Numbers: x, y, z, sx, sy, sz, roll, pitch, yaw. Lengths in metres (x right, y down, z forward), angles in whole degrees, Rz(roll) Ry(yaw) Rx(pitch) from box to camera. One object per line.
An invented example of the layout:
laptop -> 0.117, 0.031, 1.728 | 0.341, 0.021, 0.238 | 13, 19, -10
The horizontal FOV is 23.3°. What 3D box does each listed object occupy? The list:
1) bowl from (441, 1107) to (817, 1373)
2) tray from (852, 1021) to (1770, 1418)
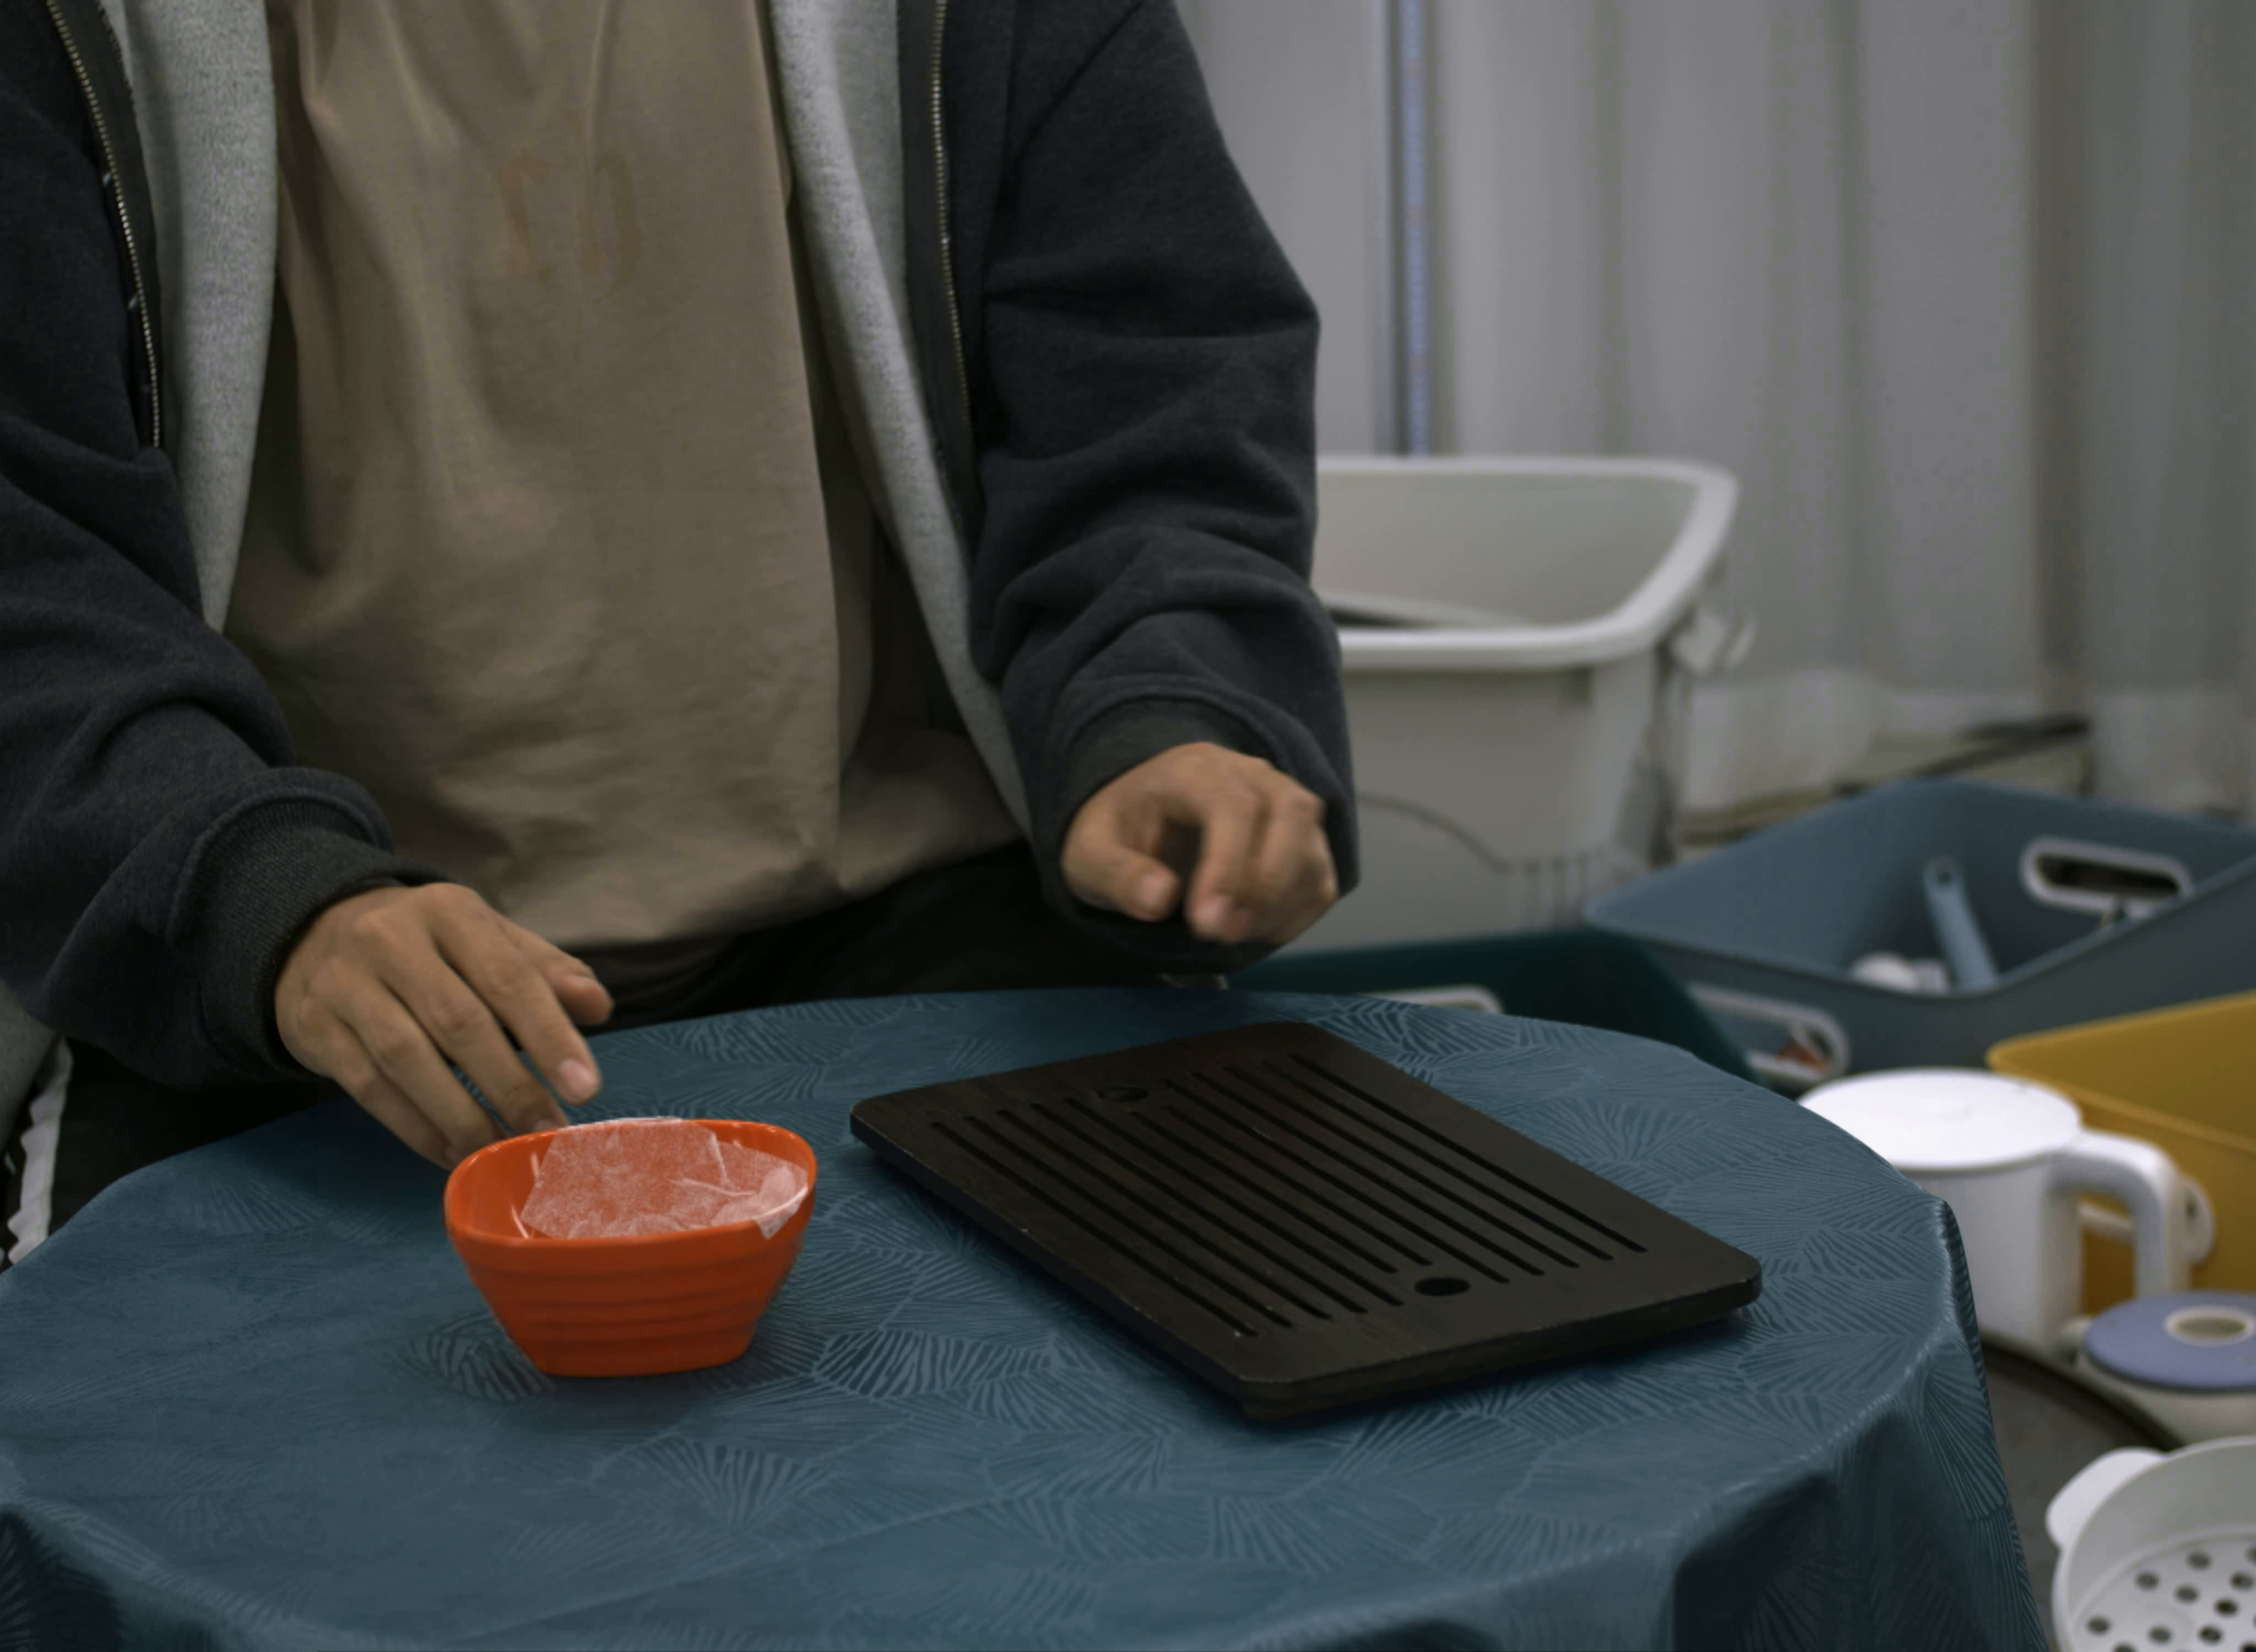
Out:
bowl -> -0.144, 0.124, 1.603 | 0.118, 0.051, 0.120 | -3, 16, 1
tray -> 0.048, 0.116, 1.667 | 0.169, 0.018, 0.308 | -10, 16, -24
